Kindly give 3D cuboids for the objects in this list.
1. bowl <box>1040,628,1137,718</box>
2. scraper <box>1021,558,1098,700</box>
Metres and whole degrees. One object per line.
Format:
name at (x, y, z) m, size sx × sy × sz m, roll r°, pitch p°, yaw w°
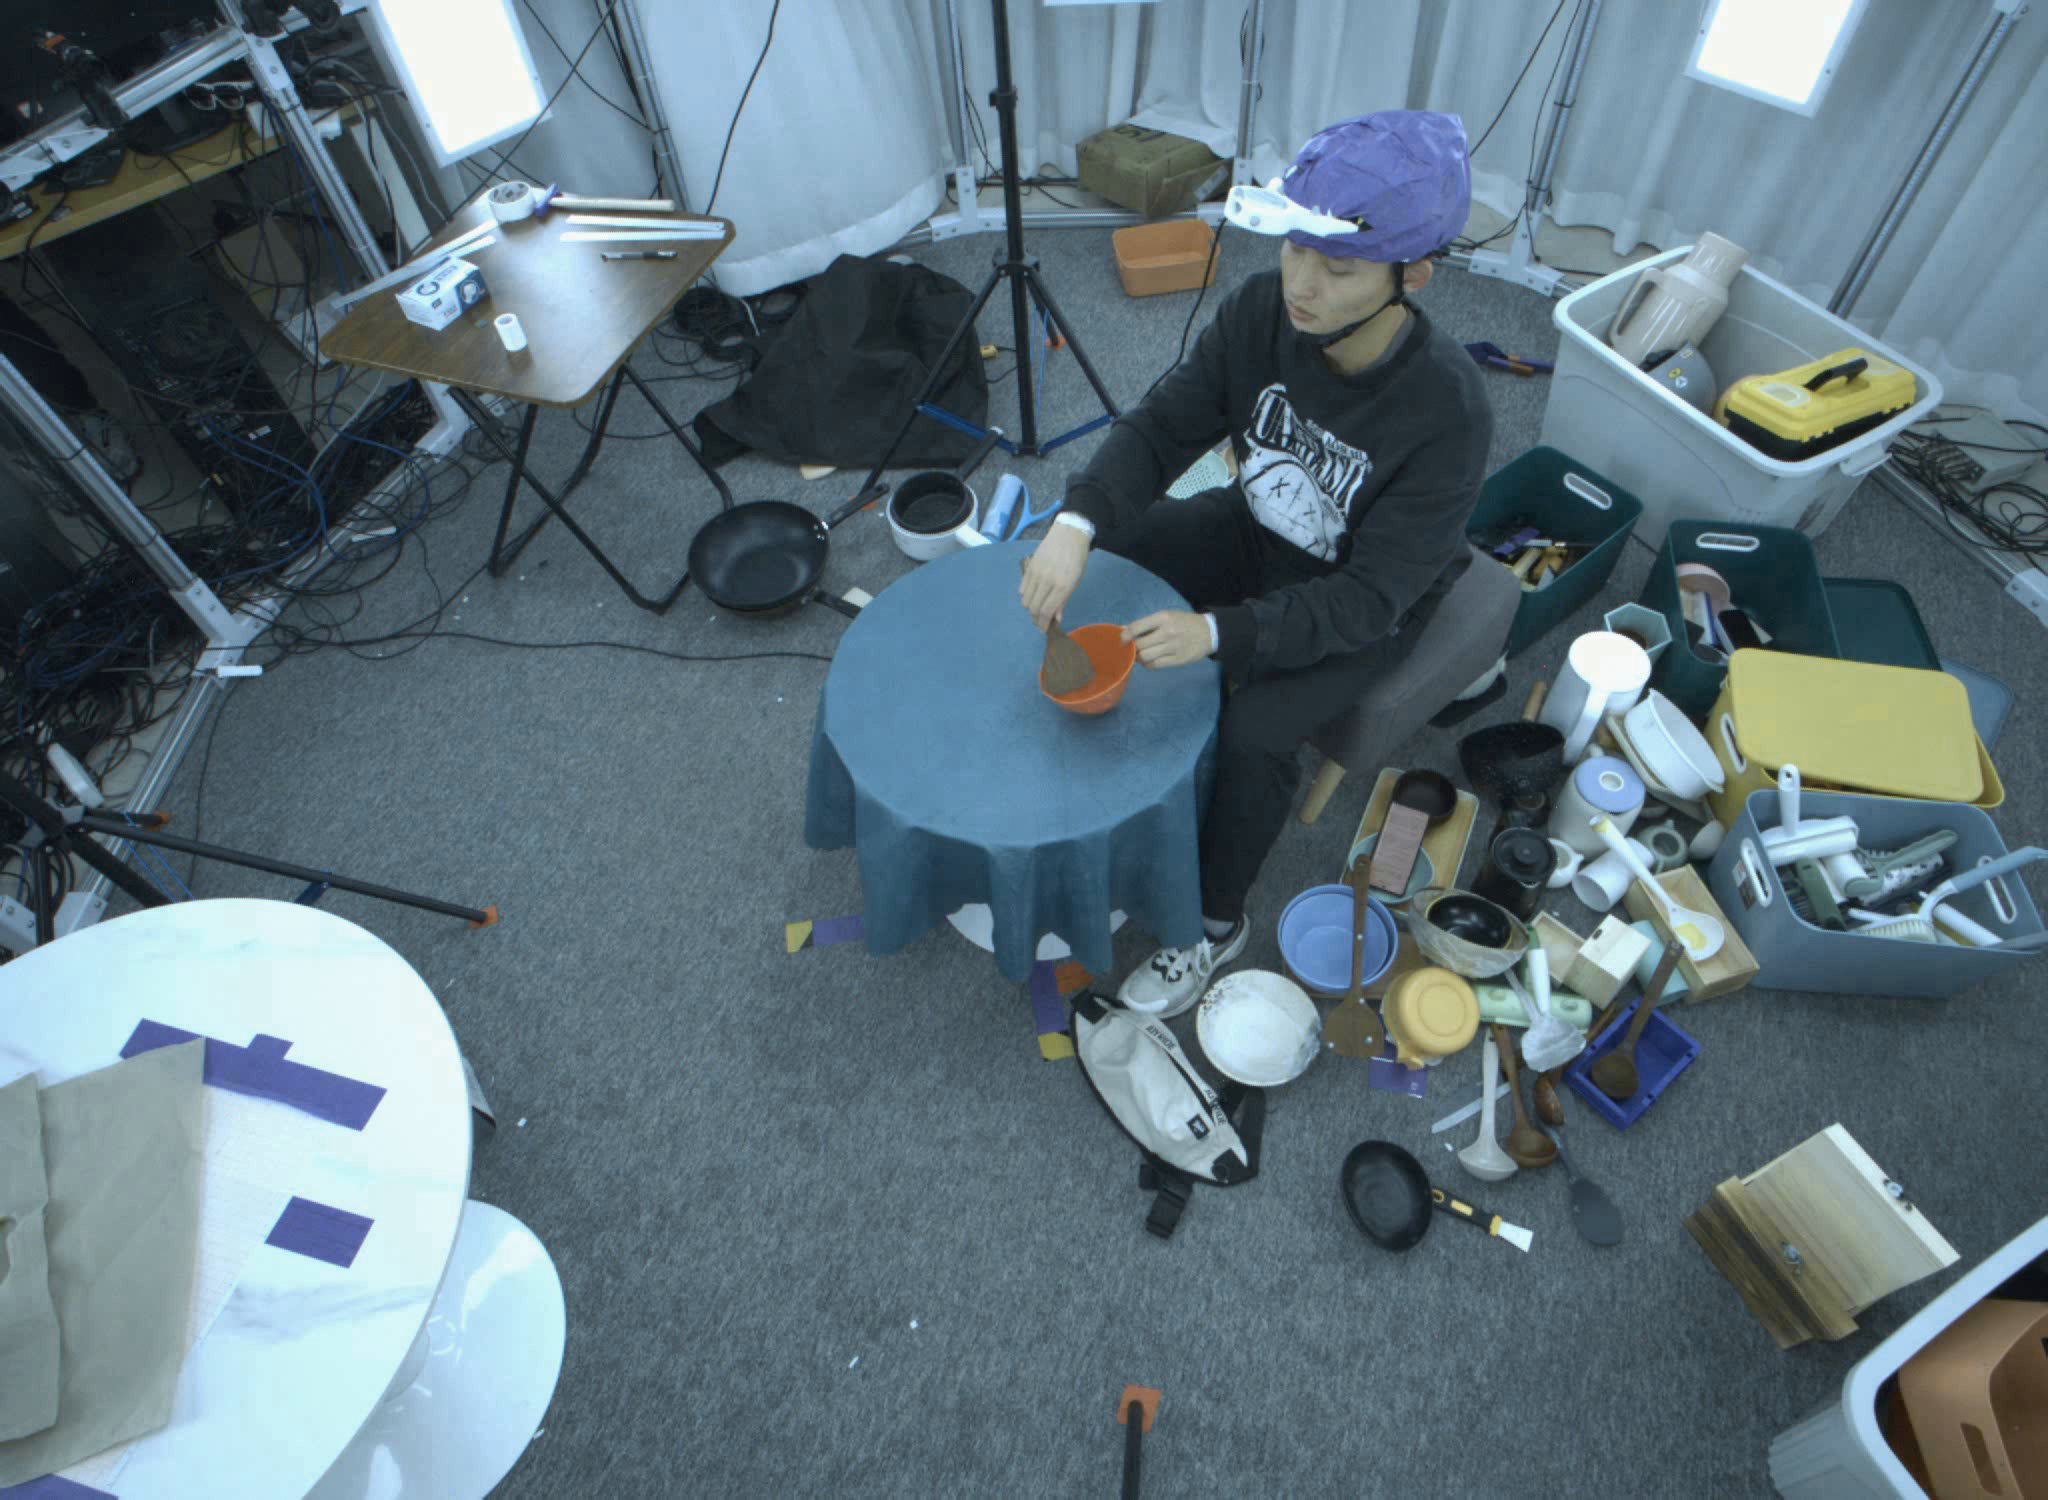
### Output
bowl at (0.102, -0.097, 1.792) m, size 0.147 × 0.106 × 0.146 m, roll -8°, pitch 57°, yaw 13°
scraper at (0.041, -0.177, 1.765) m, size 0.075 × 0.011 × 0.210 m, roll -21°, pitch 84°, yaw 12°
